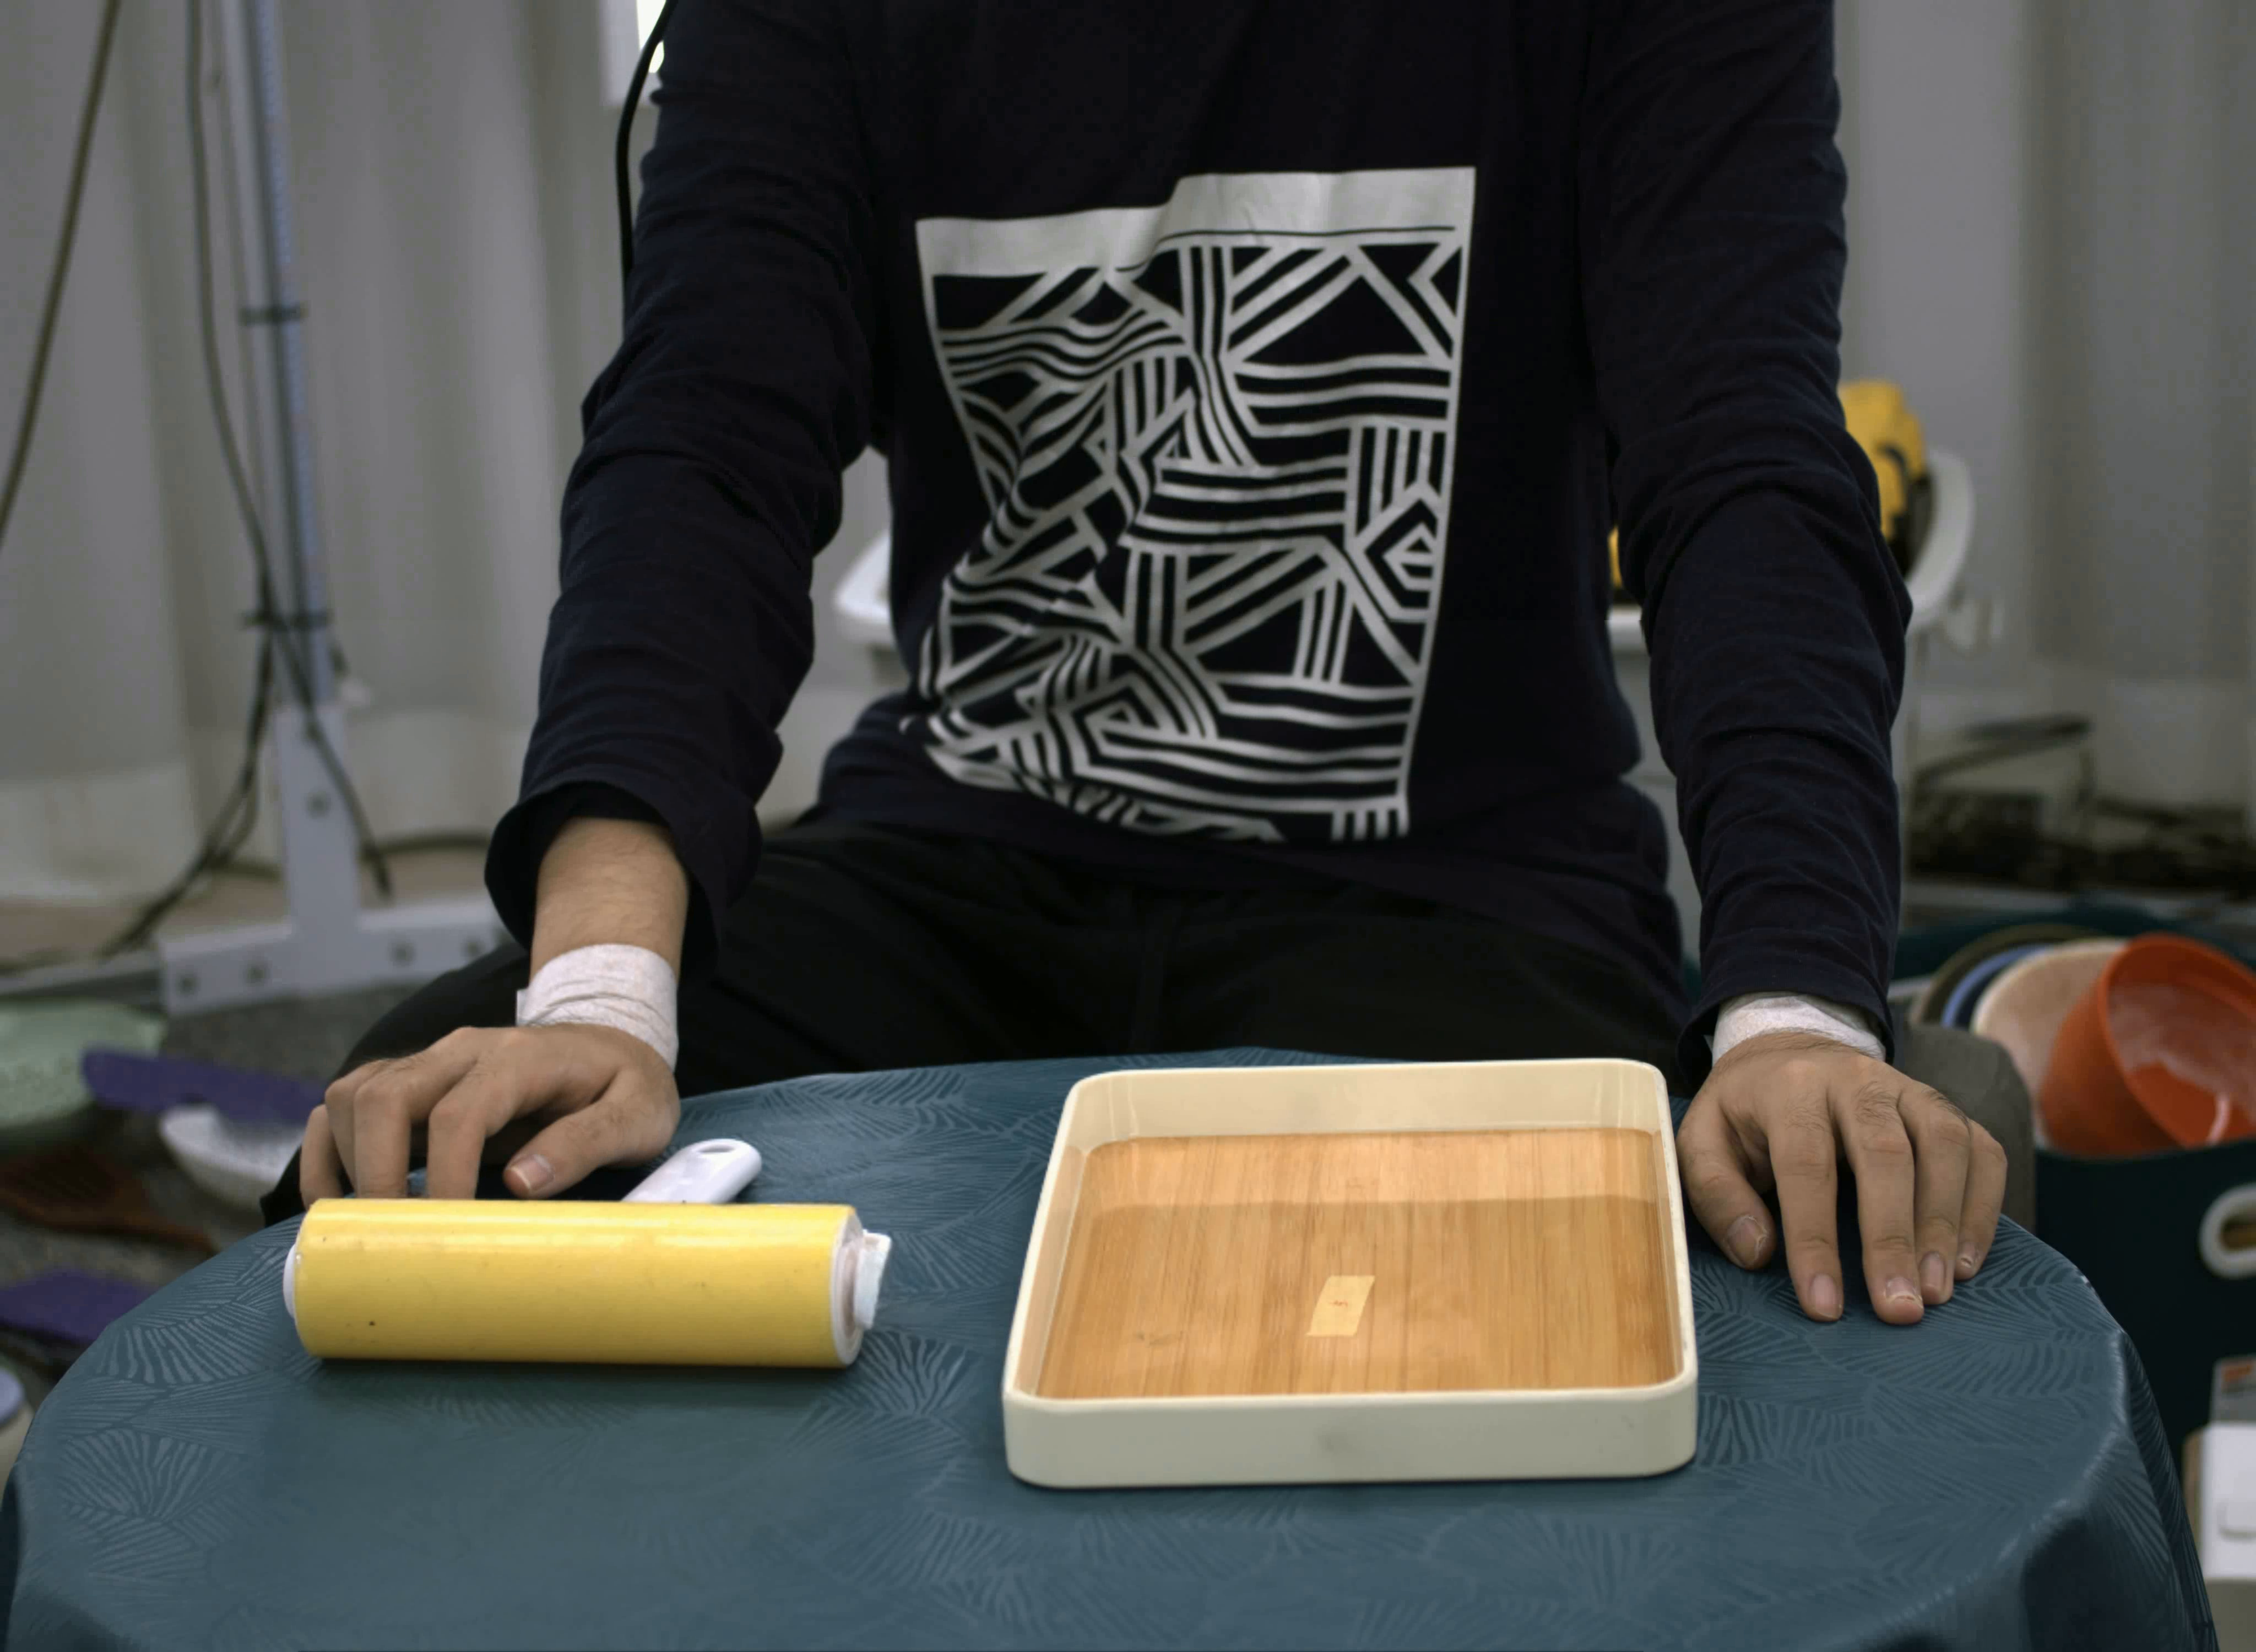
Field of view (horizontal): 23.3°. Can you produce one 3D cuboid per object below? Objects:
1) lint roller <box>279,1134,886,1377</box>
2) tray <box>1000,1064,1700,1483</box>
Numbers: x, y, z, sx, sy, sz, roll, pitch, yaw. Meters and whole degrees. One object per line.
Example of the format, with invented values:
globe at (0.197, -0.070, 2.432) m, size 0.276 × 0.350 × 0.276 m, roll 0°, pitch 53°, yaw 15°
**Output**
lint roller at (-0.150, 0.114, 1.655) m, size 0.174 × 0.051 × 0.193 m, roll 0°, pitch 18°, yaw 9°
tray at (0.068, 0.128, 1.606) m, size 0.191 × 0.027 × 0.302 m, roll -1°, pitch 15°, yaw 4°
